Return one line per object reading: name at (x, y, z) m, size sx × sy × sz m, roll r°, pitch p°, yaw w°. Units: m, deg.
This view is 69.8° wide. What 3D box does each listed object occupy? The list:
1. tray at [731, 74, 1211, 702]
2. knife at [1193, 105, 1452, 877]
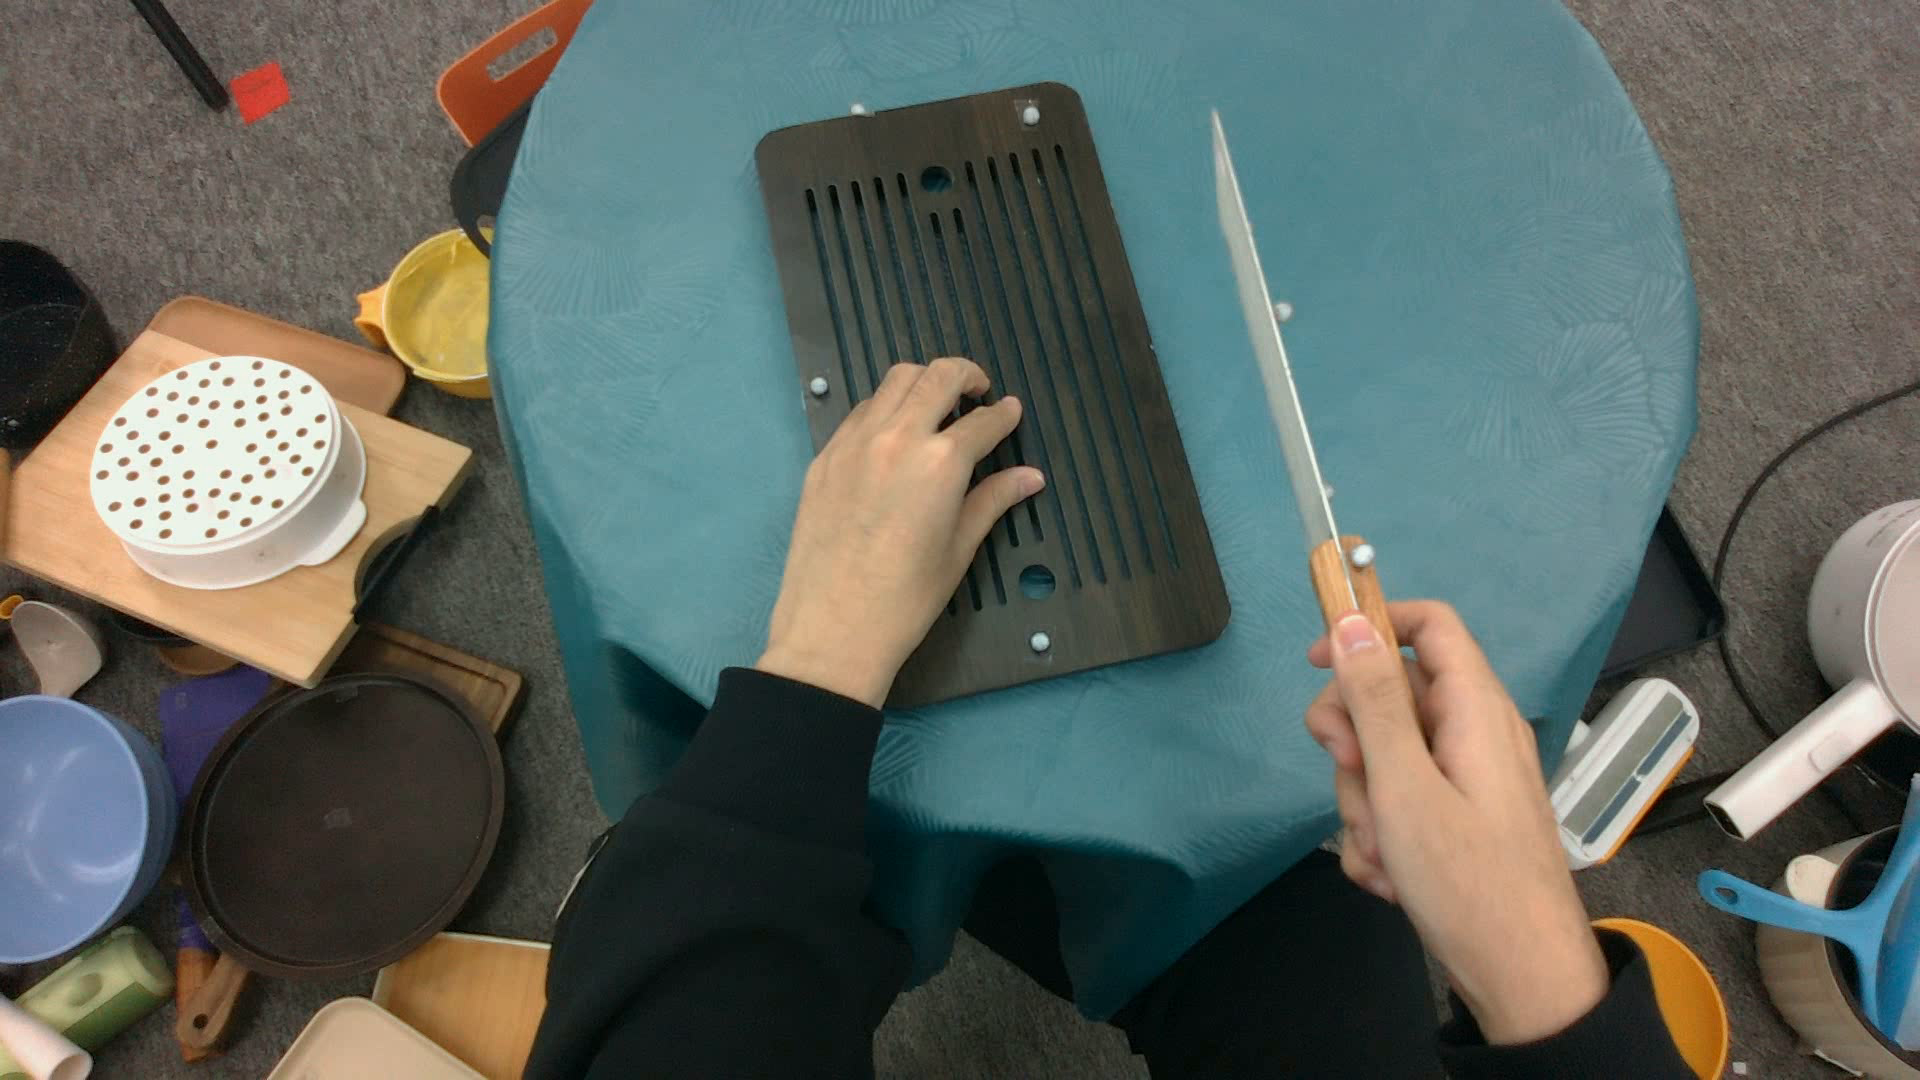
tray at (-0.001, -0.083, 0.657) m, size 0.170 × 0.018 × 0.306 m, roll -11°, pitch 71°, yaw -6°
knife at (0.129, -0.022, 0.530) m, size 0.021 × 0.093 × 0.306 m, roll -14°, pitch 70°, yaw 7°
